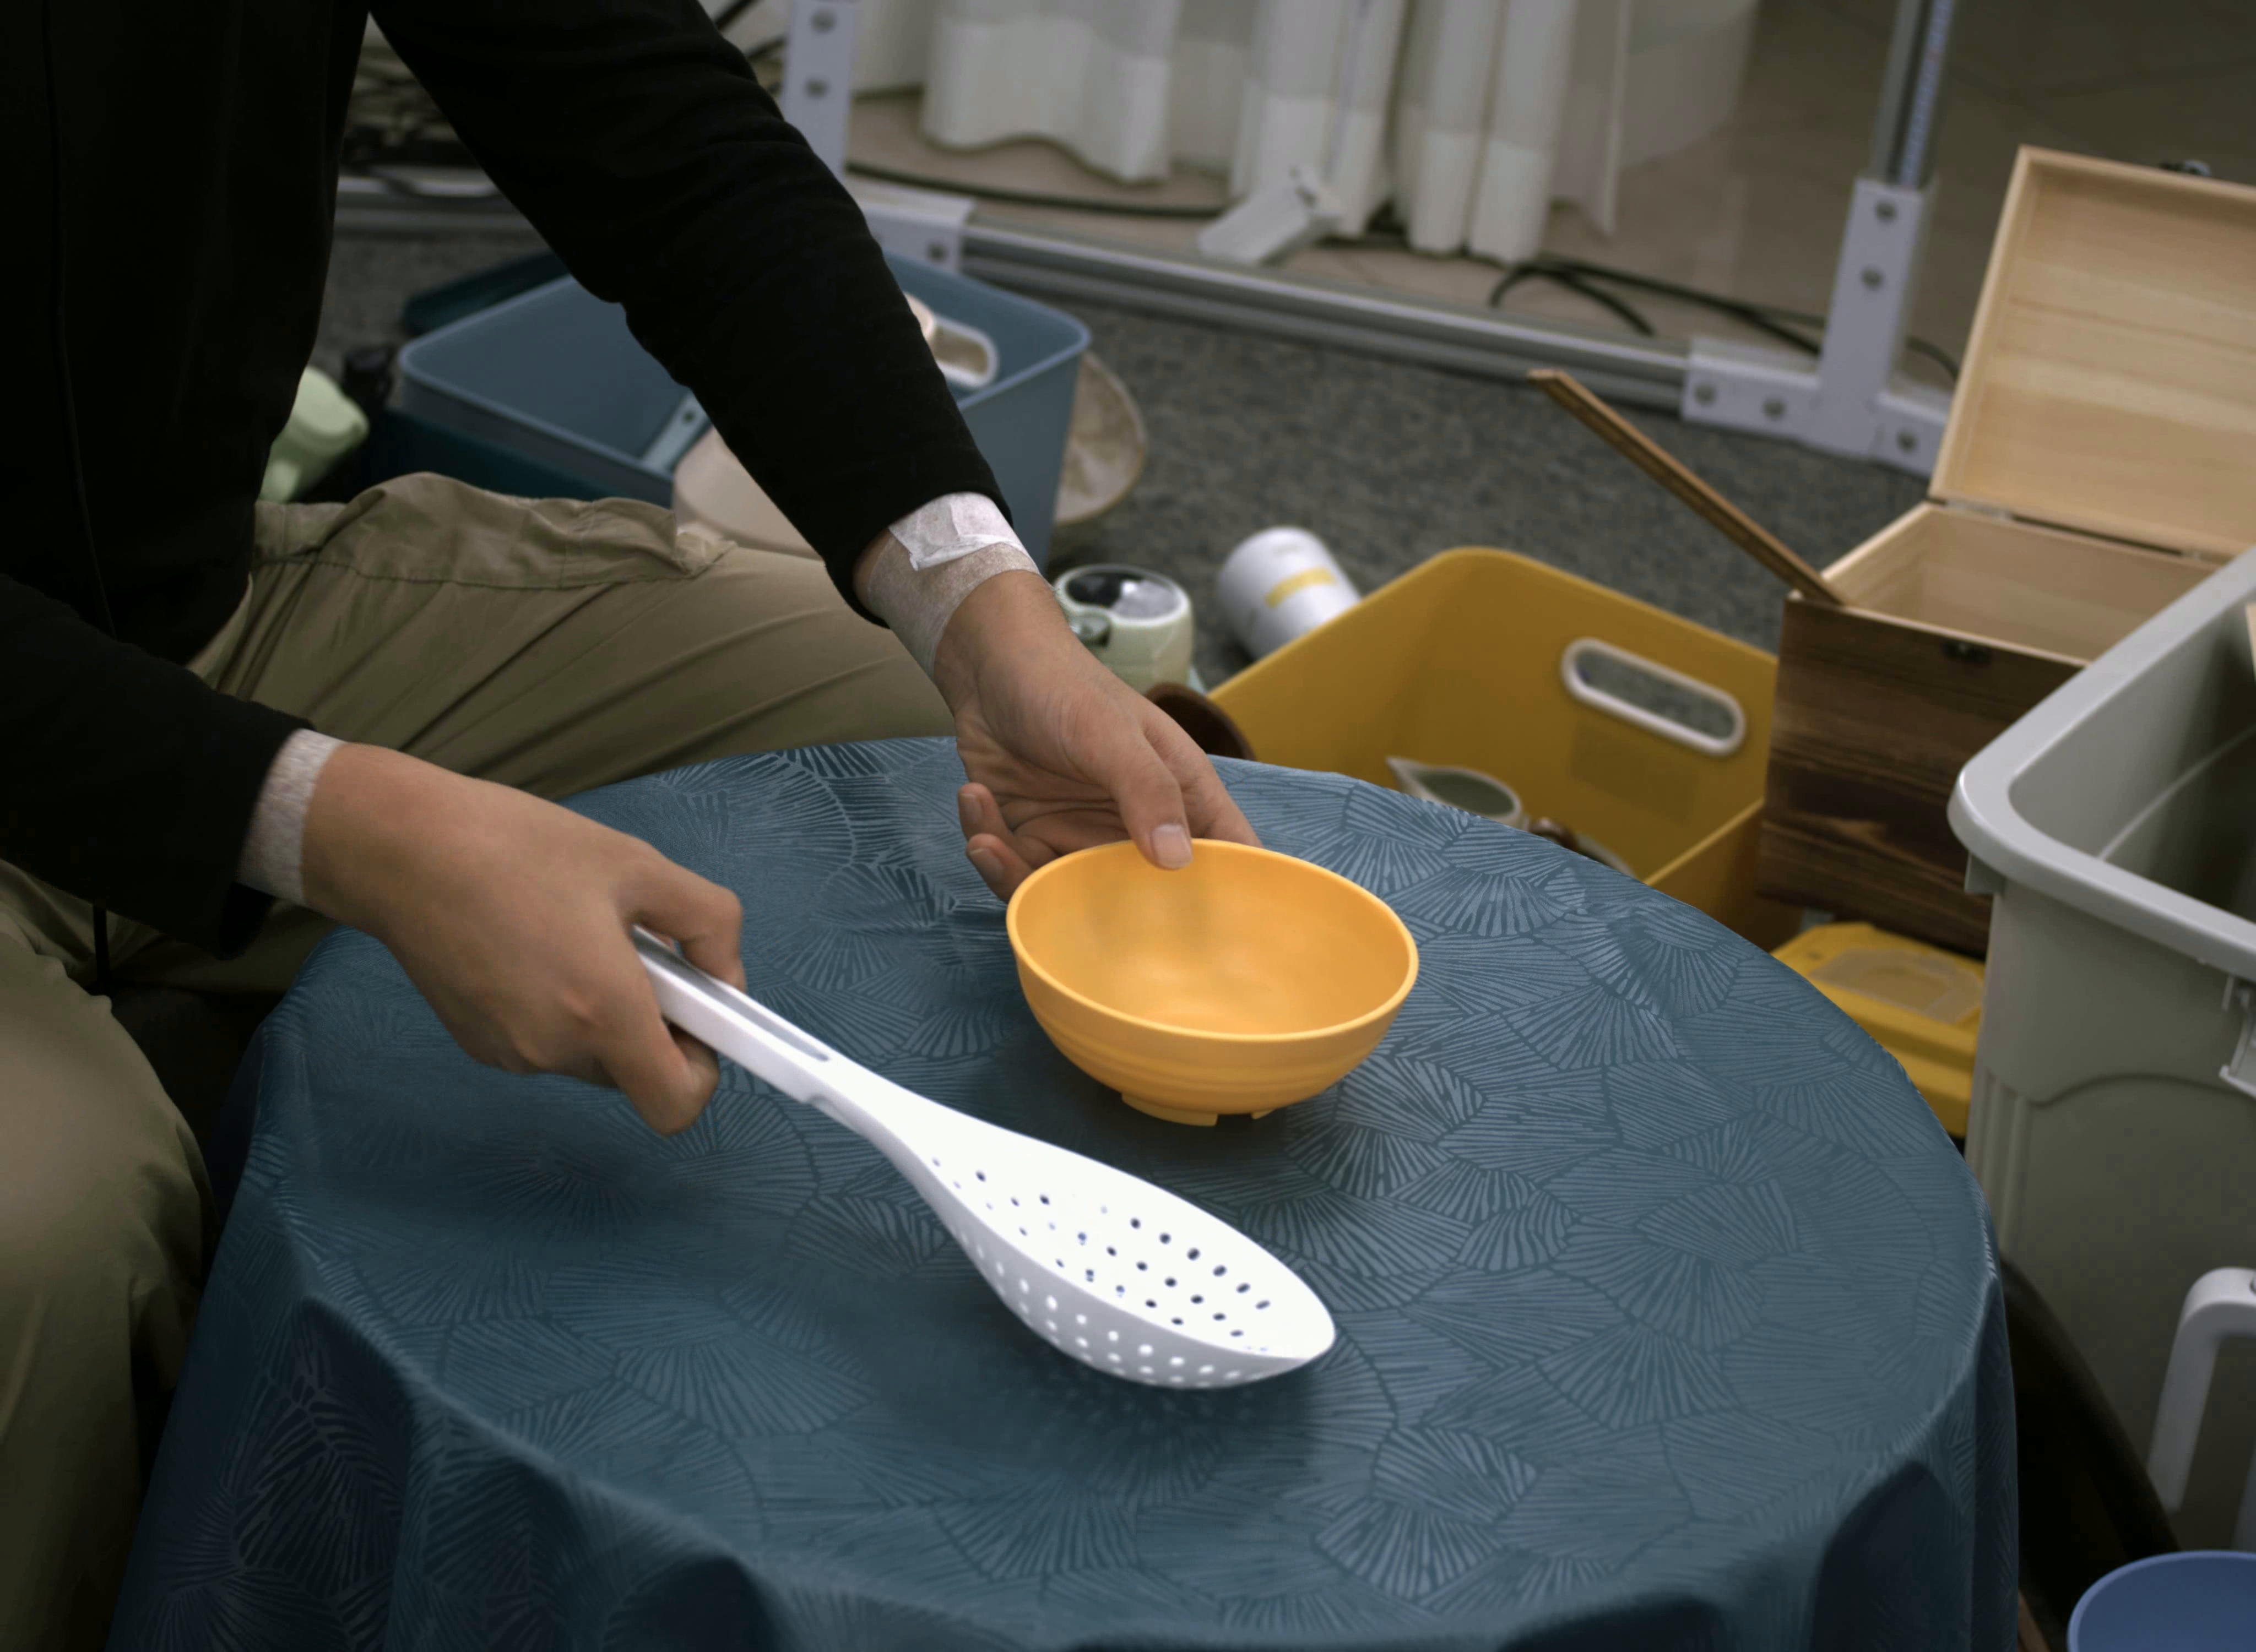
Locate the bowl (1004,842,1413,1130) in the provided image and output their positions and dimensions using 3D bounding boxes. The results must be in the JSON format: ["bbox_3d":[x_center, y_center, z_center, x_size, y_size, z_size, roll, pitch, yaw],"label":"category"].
[{"bbox_3d":[0.024,0.064,1.862,0.145,0.060,0.146,7,26,-4],"label":"bowl"}]

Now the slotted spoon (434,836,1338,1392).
[{"bbox_3d":[-0.086,0.091,1.727,0.351,0.046,0.135,34,16,19],"label":"slotted spoon"}]
